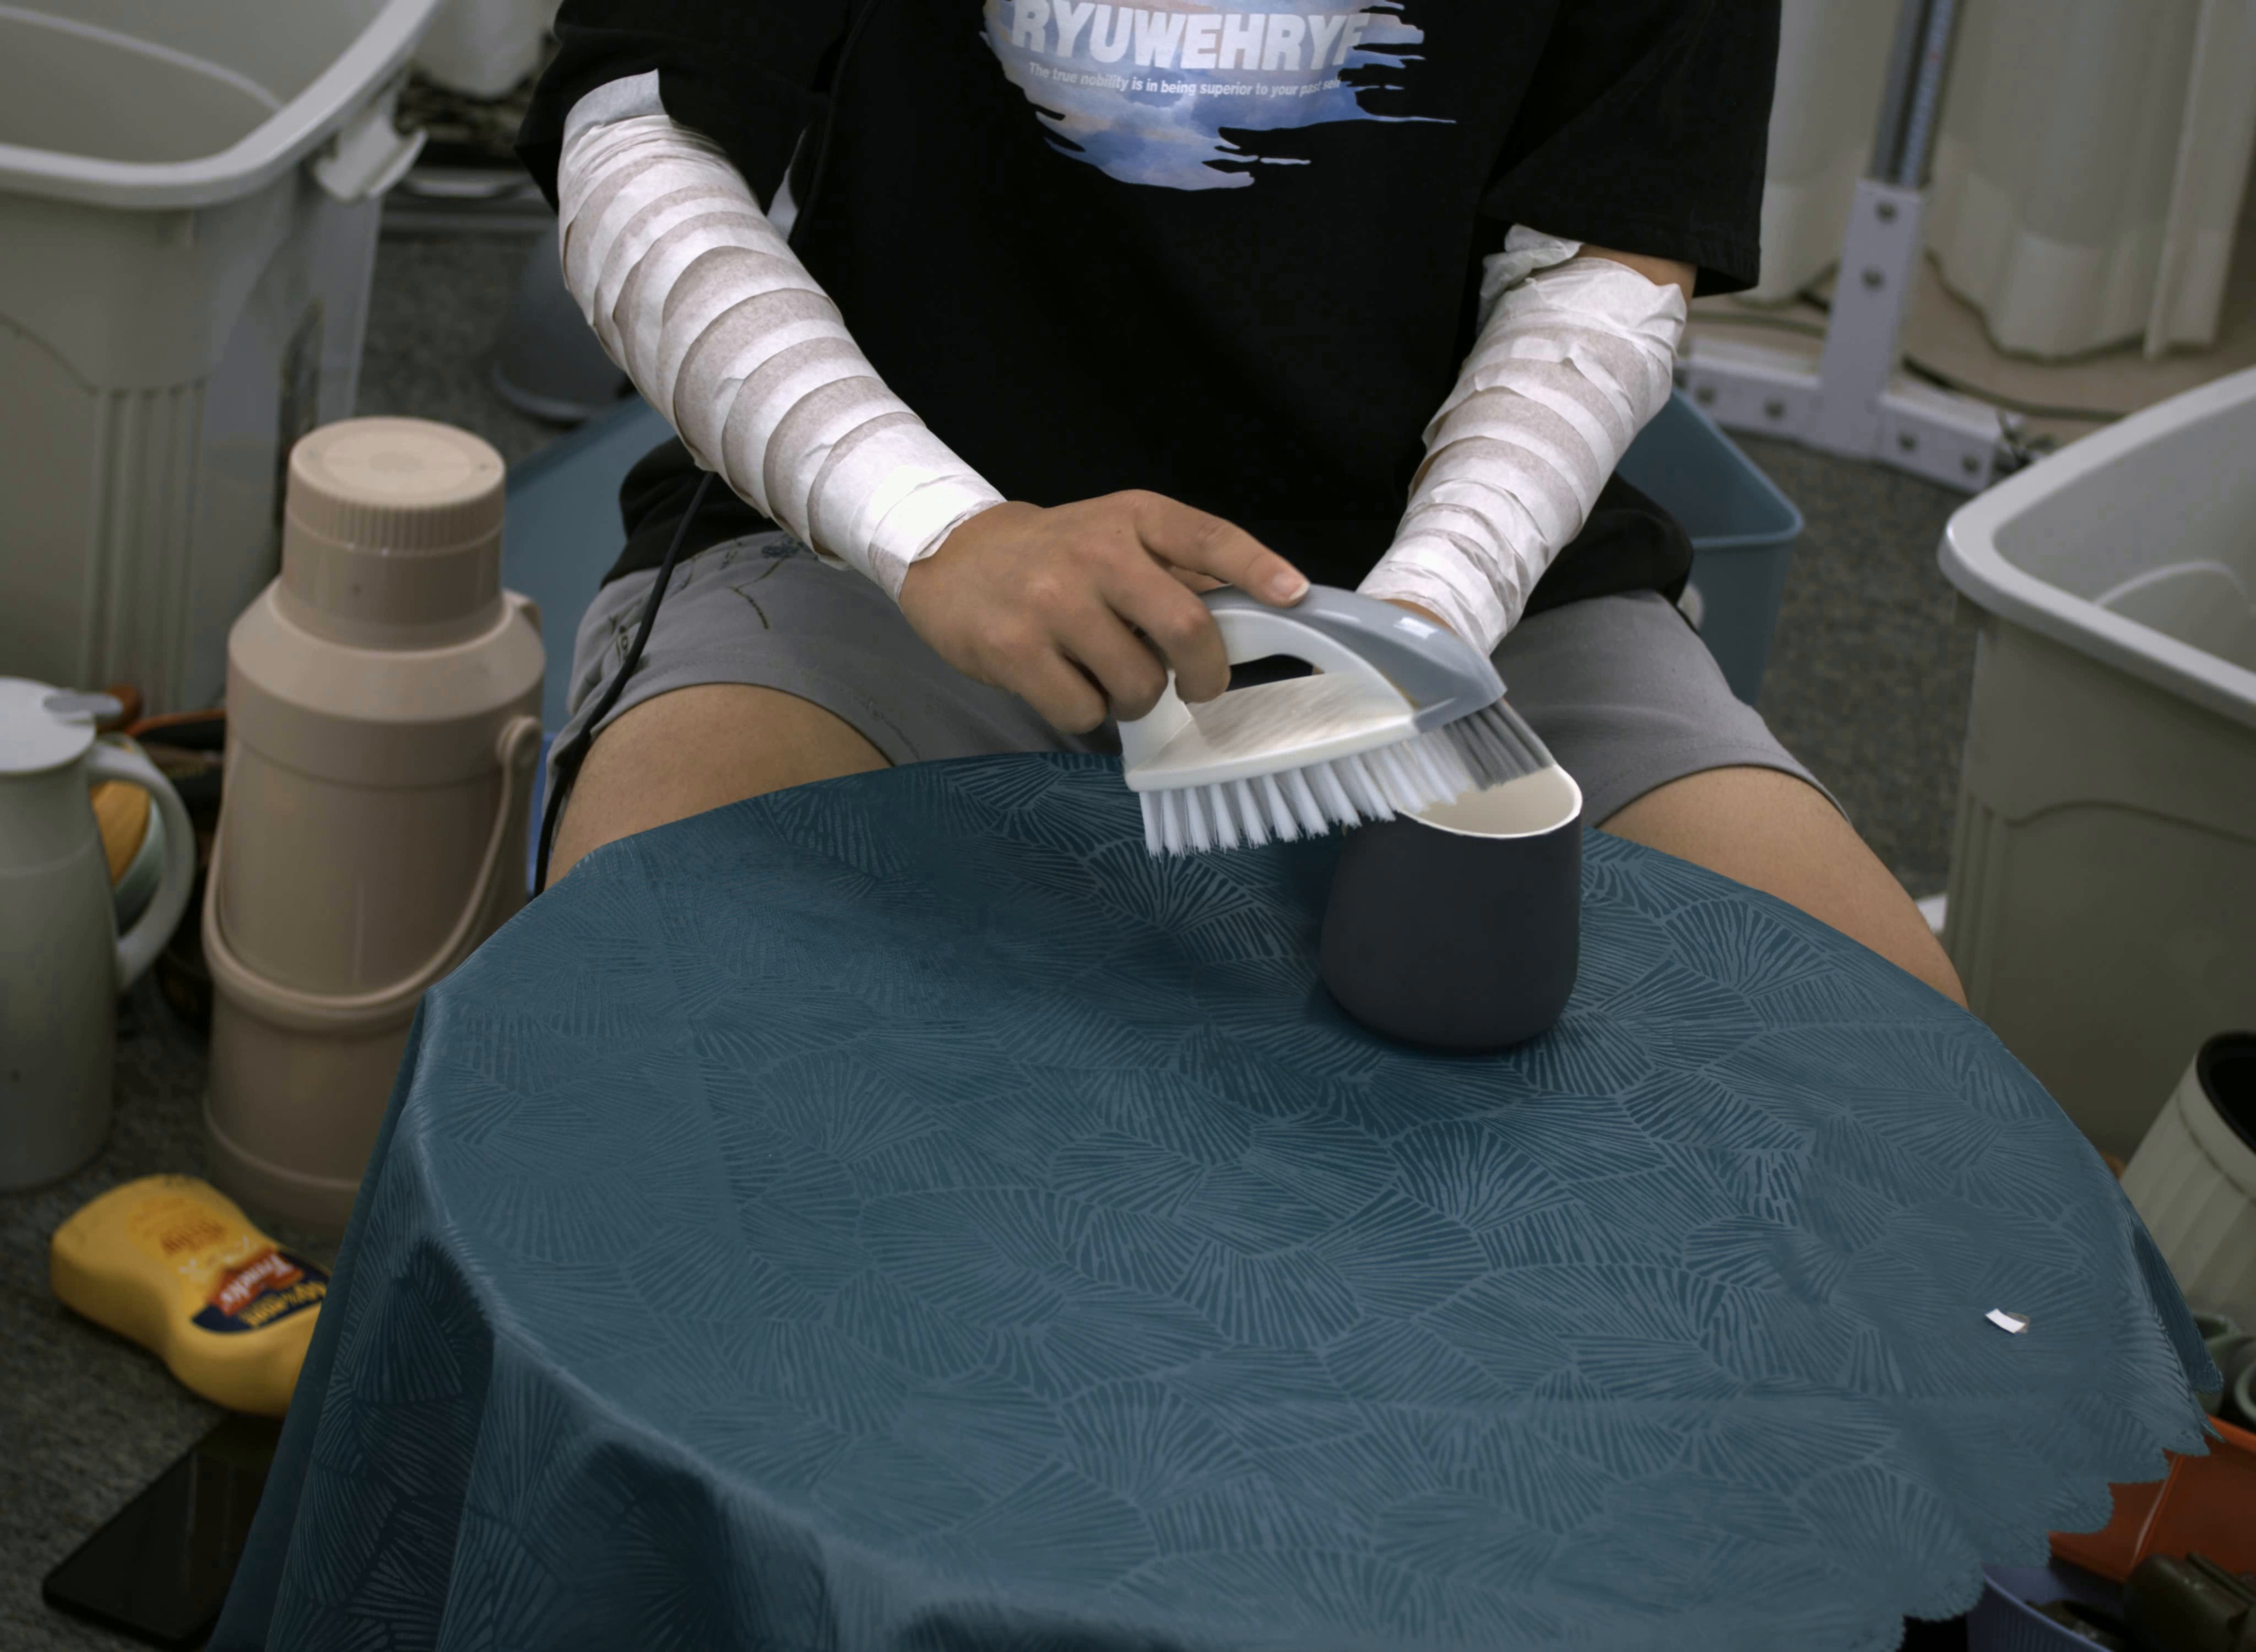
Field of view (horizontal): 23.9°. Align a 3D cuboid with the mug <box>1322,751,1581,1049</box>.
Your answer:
[{"bbox_3d":[0.115,0.018,1.940,0.093,0.089,0.124,-4,29,-19],"label":"mug"}]

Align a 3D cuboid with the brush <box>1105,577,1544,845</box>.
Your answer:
[{"bbox_3d":[0.064,-0.049,1.902,0.176,0.093,0.061,-5,34,44],"label":"brush"}]
